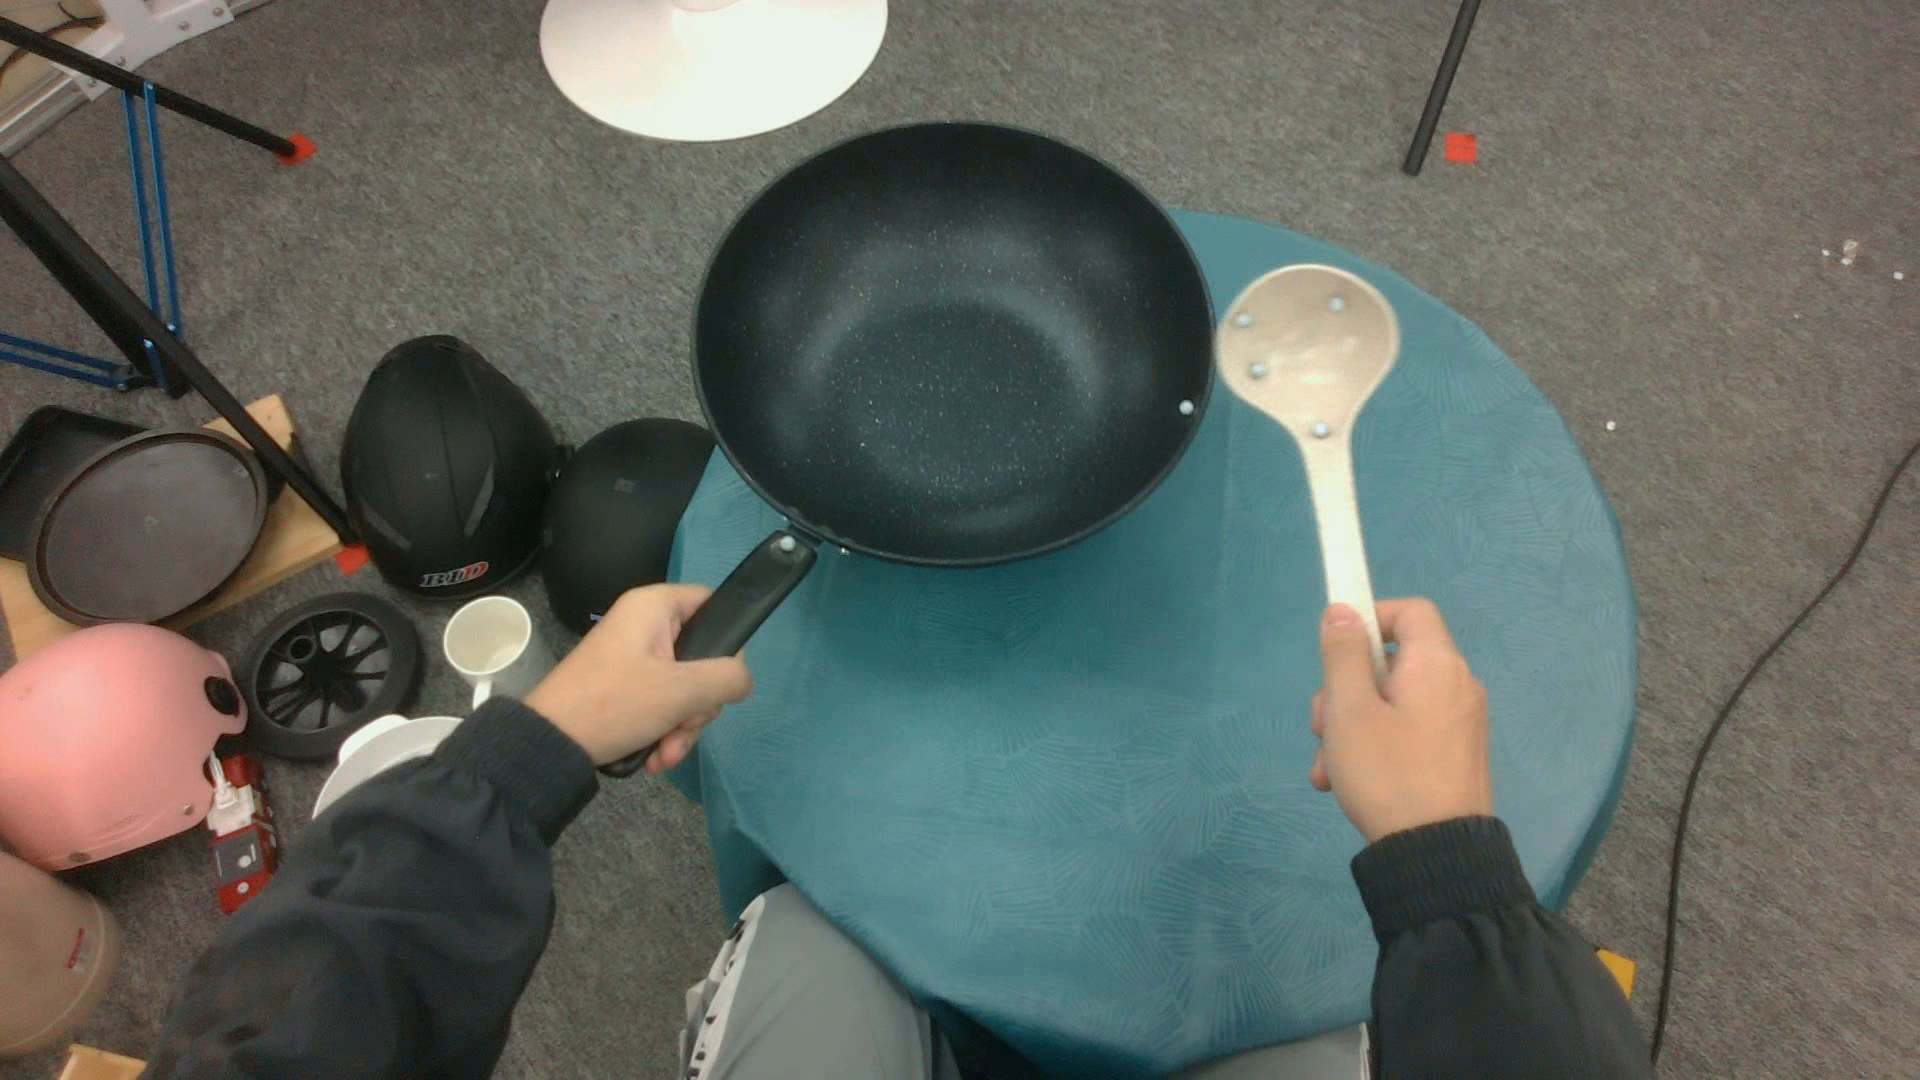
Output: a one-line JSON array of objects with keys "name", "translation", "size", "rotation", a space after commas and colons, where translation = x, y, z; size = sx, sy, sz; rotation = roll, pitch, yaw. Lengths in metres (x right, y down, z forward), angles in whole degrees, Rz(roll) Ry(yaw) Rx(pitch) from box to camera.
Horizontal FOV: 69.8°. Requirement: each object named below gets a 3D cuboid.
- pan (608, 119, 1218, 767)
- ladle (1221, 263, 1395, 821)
[{"name": "pan", "translation": [-0.043, -0.055, 0.820], "size": [0.310, 0.111, 0.478], "rotation": [28, 68, 14]}, {"name": "ladle", "translation": [0.177, -0.006, 0.678], "size": [0.089, 0.069, 0.276], "rotation": [-6, 65, 19]}]
